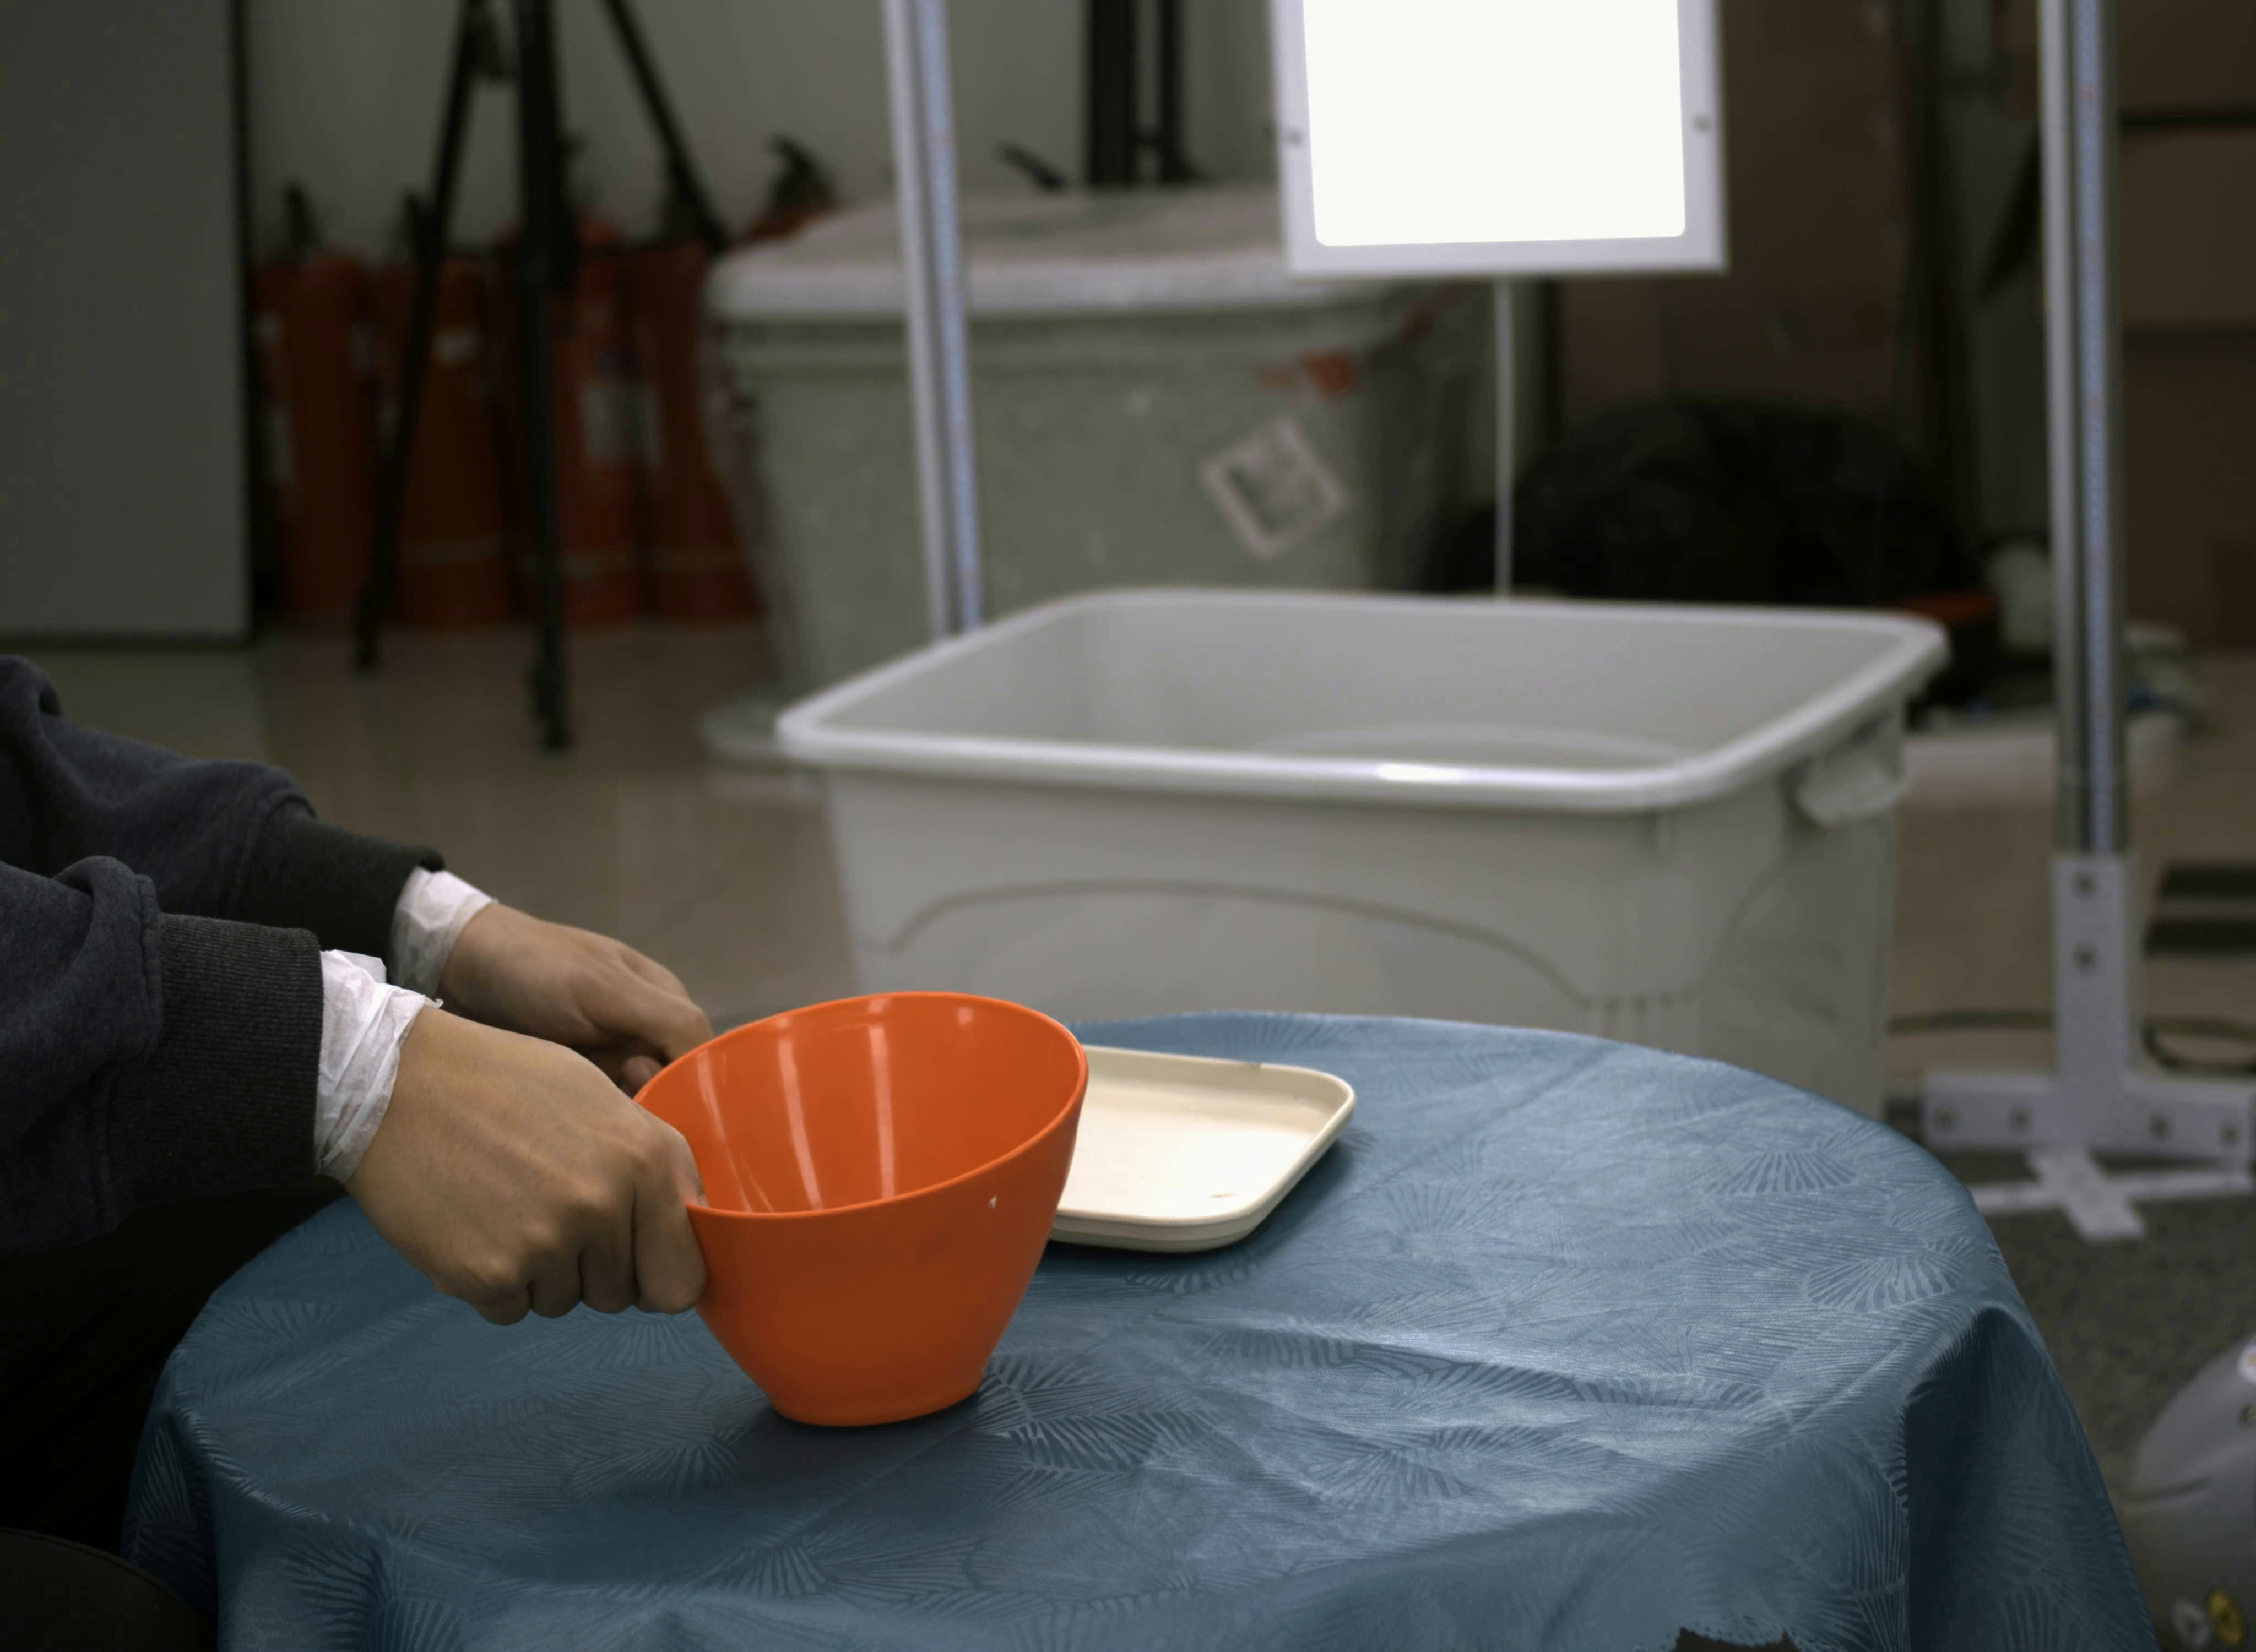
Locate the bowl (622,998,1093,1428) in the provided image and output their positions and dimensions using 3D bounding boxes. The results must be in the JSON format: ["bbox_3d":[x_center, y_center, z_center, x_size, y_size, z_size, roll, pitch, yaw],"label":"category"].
[{"bbox_3d":[-0.080,0.124,1.712,0.147,0.105,0.148,-5,13,0],"label":"bowl"}]

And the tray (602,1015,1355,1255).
[{"bbox_3d":[-0.051,0.107,1.919,0.242,0.017,0.168,5,17,19],"label":"tray"}]
